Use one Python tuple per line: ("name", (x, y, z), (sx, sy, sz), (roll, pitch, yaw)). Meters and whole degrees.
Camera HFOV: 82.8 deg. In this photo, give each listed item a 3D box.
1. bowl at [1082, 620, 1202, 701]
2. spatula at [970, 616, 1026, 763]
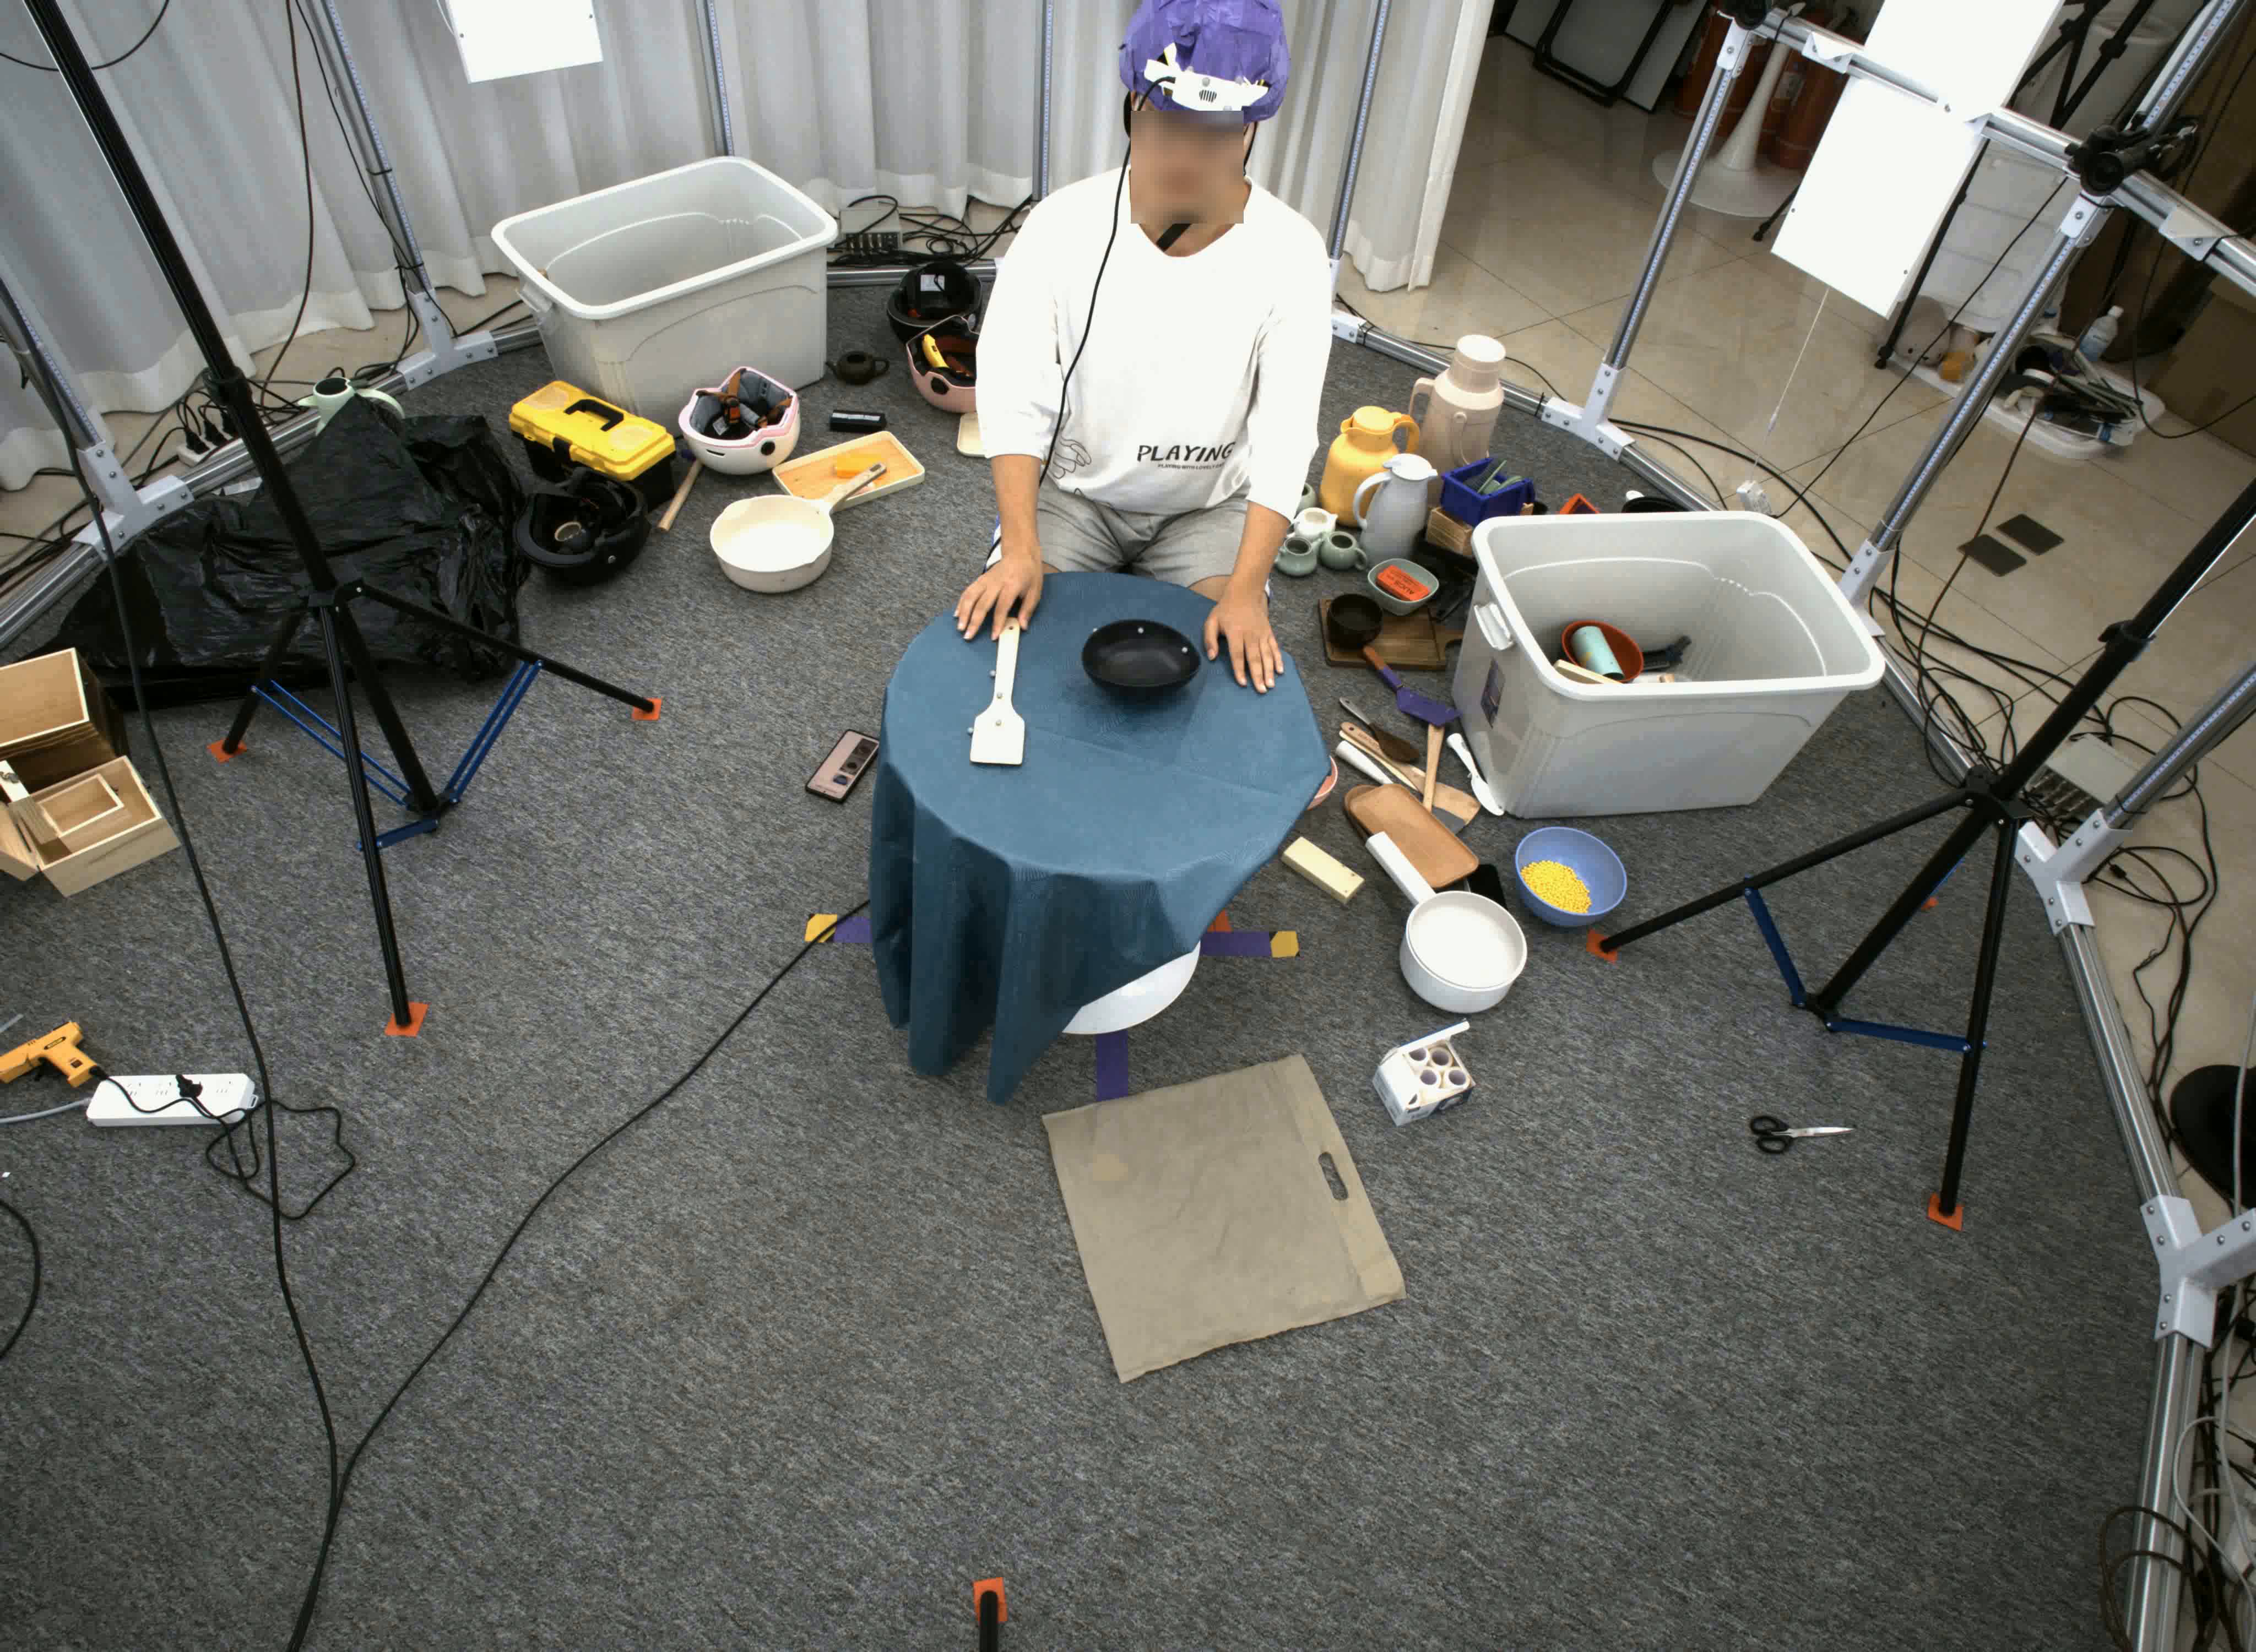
("bowl", (0.018, -0.225, 1.820), (0.170, 0.065, 0.141), (-3, 49, -10))
("spatula", (-0.173, -0.199, 1.817), (0.072, 0.010, 0.300), (3, 49, -1))
